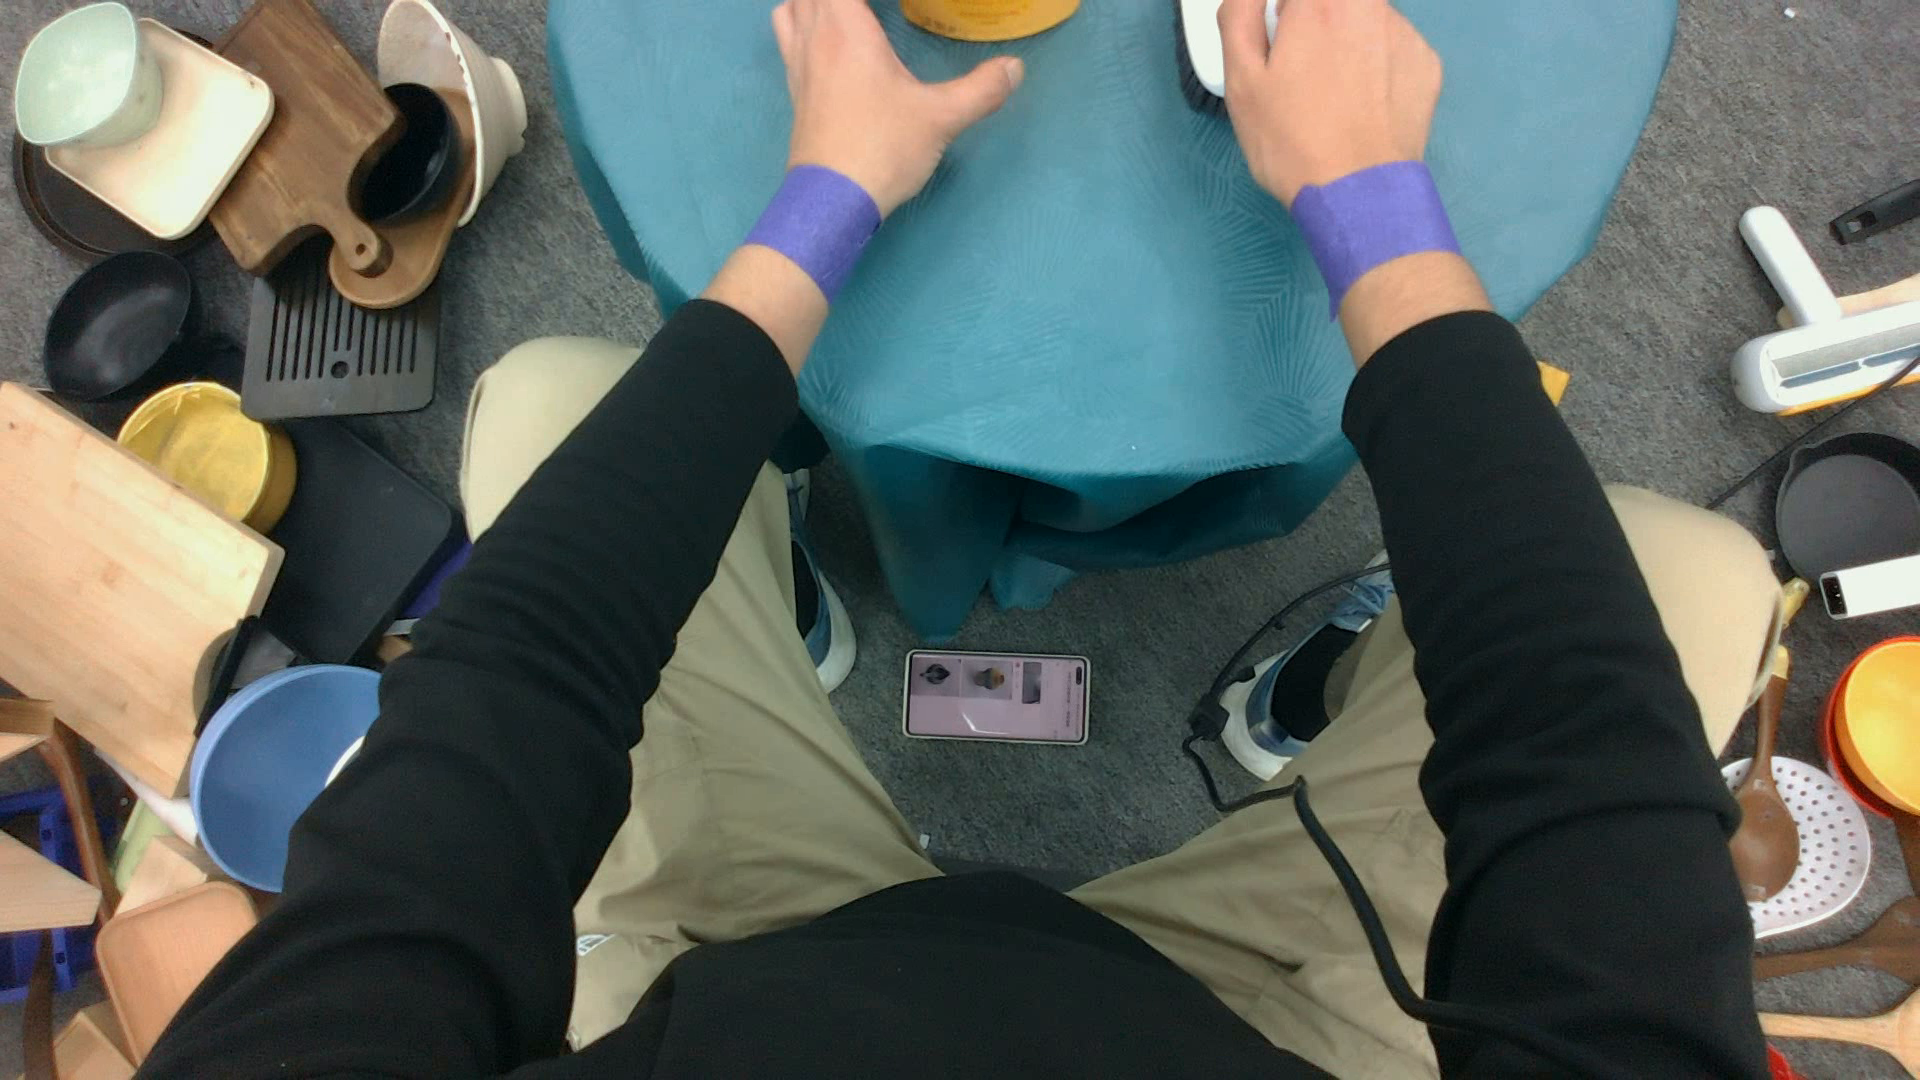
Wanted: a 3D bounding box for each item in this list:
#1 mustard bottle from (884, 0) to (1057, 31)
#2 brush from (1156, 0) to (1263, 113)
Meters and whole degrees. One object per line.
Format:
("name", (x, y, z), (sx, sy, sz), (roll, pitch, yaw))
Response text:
("mustard bottle", (0.004, -0.304, 0.651), (0.098, 0.172, 0.059), (-2, 86, 0))
("brush", (0.127, -0.275, 0.690), (0.050, 0.072, 0.099), (-4, 82, 3))
